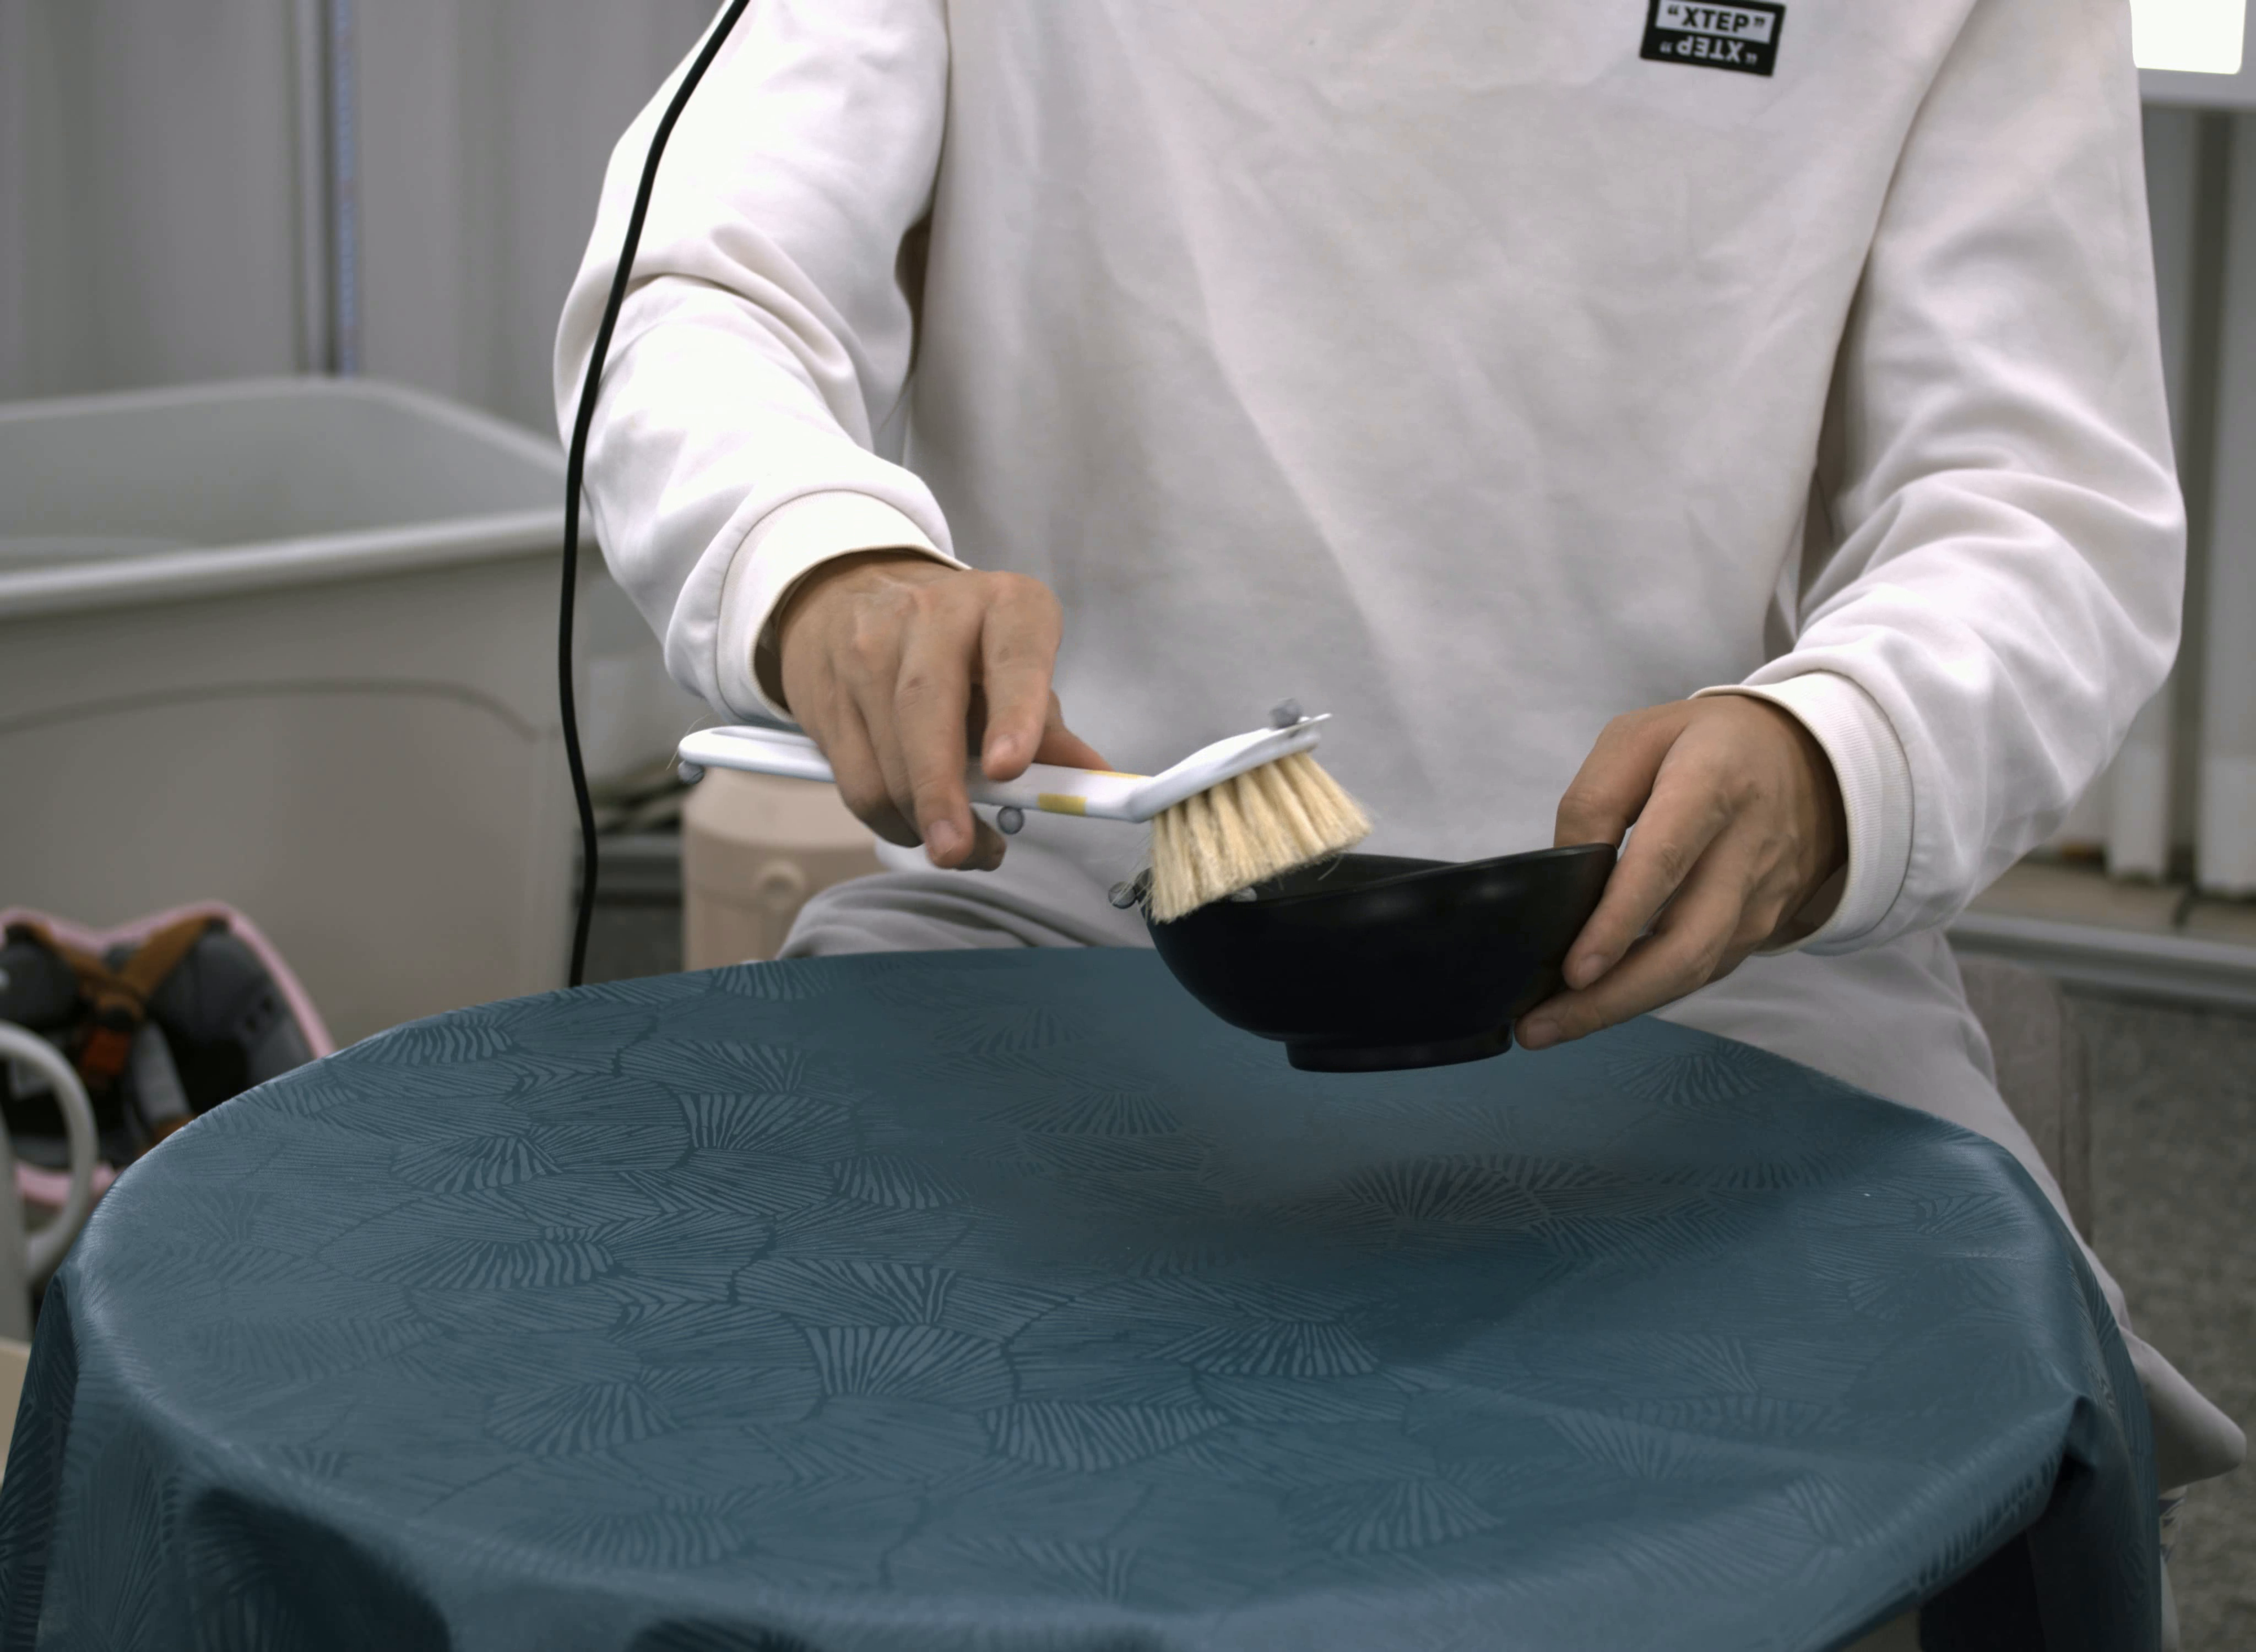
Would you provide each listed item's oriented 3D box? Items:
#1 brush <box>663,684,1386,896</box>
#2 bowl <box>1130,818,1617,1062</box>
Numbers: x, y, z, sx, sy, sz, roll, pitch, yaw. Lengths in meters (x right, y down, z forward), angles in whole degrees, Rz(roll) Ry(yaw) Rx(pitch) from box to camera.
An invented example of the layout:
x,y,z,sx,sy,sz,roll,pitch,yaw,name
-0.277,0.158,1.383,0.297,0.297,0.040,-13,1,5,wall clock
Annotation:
x,y,z,sx,sy,sz,roll,pitch,yaw,name
-0.036,-0.008,1.600,0.263,0.056,0.069,-2,12,38,brush
0.078,0.036,1.601,0.136,0.067,0.171,-6,-2,36,bowl
